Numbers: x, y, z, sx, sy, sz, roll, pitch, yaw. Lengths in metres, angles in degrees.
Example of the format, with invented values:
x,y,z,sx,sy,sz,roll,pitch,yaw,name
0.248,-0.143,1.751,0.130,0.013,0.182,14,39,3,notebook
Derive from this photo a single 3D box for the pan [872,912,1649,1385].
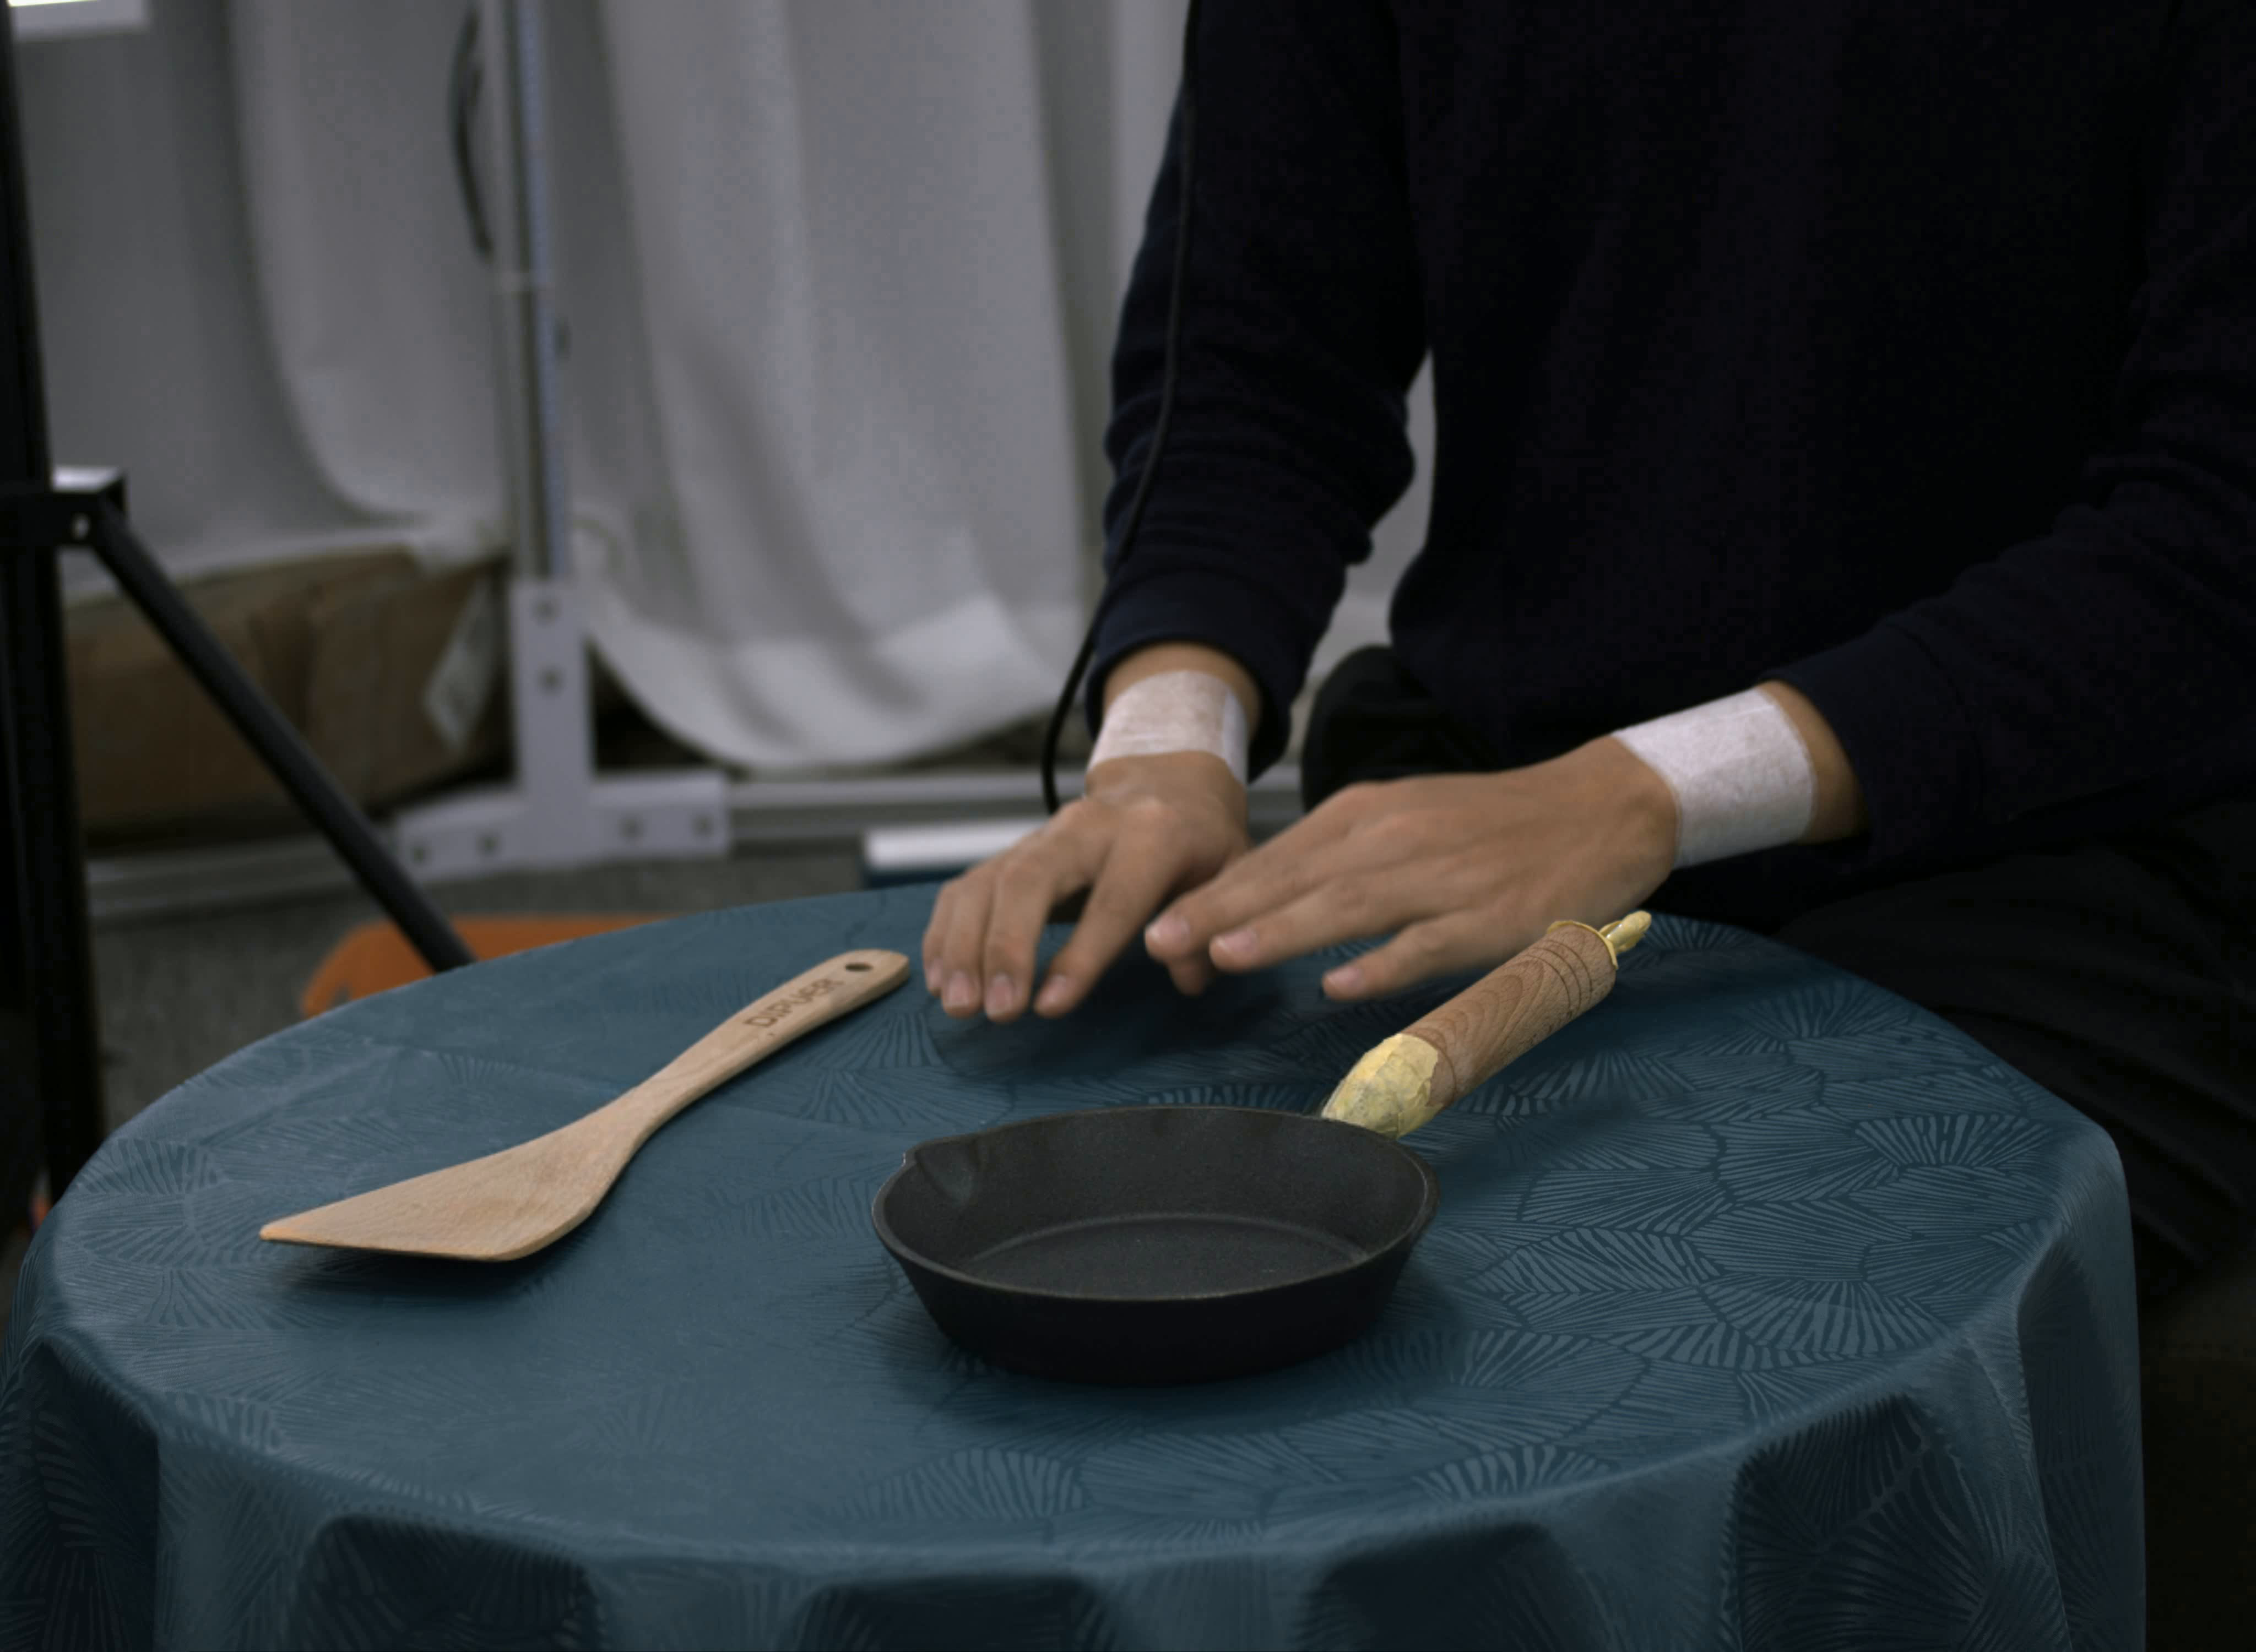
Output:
x,y,z,sx,sy,sz,roll,pitch,yaw,name
0.060,0.089,1.523,0.172,0.049,0.317,10,22,38,pan

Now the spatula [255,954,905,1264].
x,y,z,sx,sy,sz,roll,pitch,yaw,name
-0.148,0.084,1.640,0.081,0.016,0.322,6,18,25,spatula
